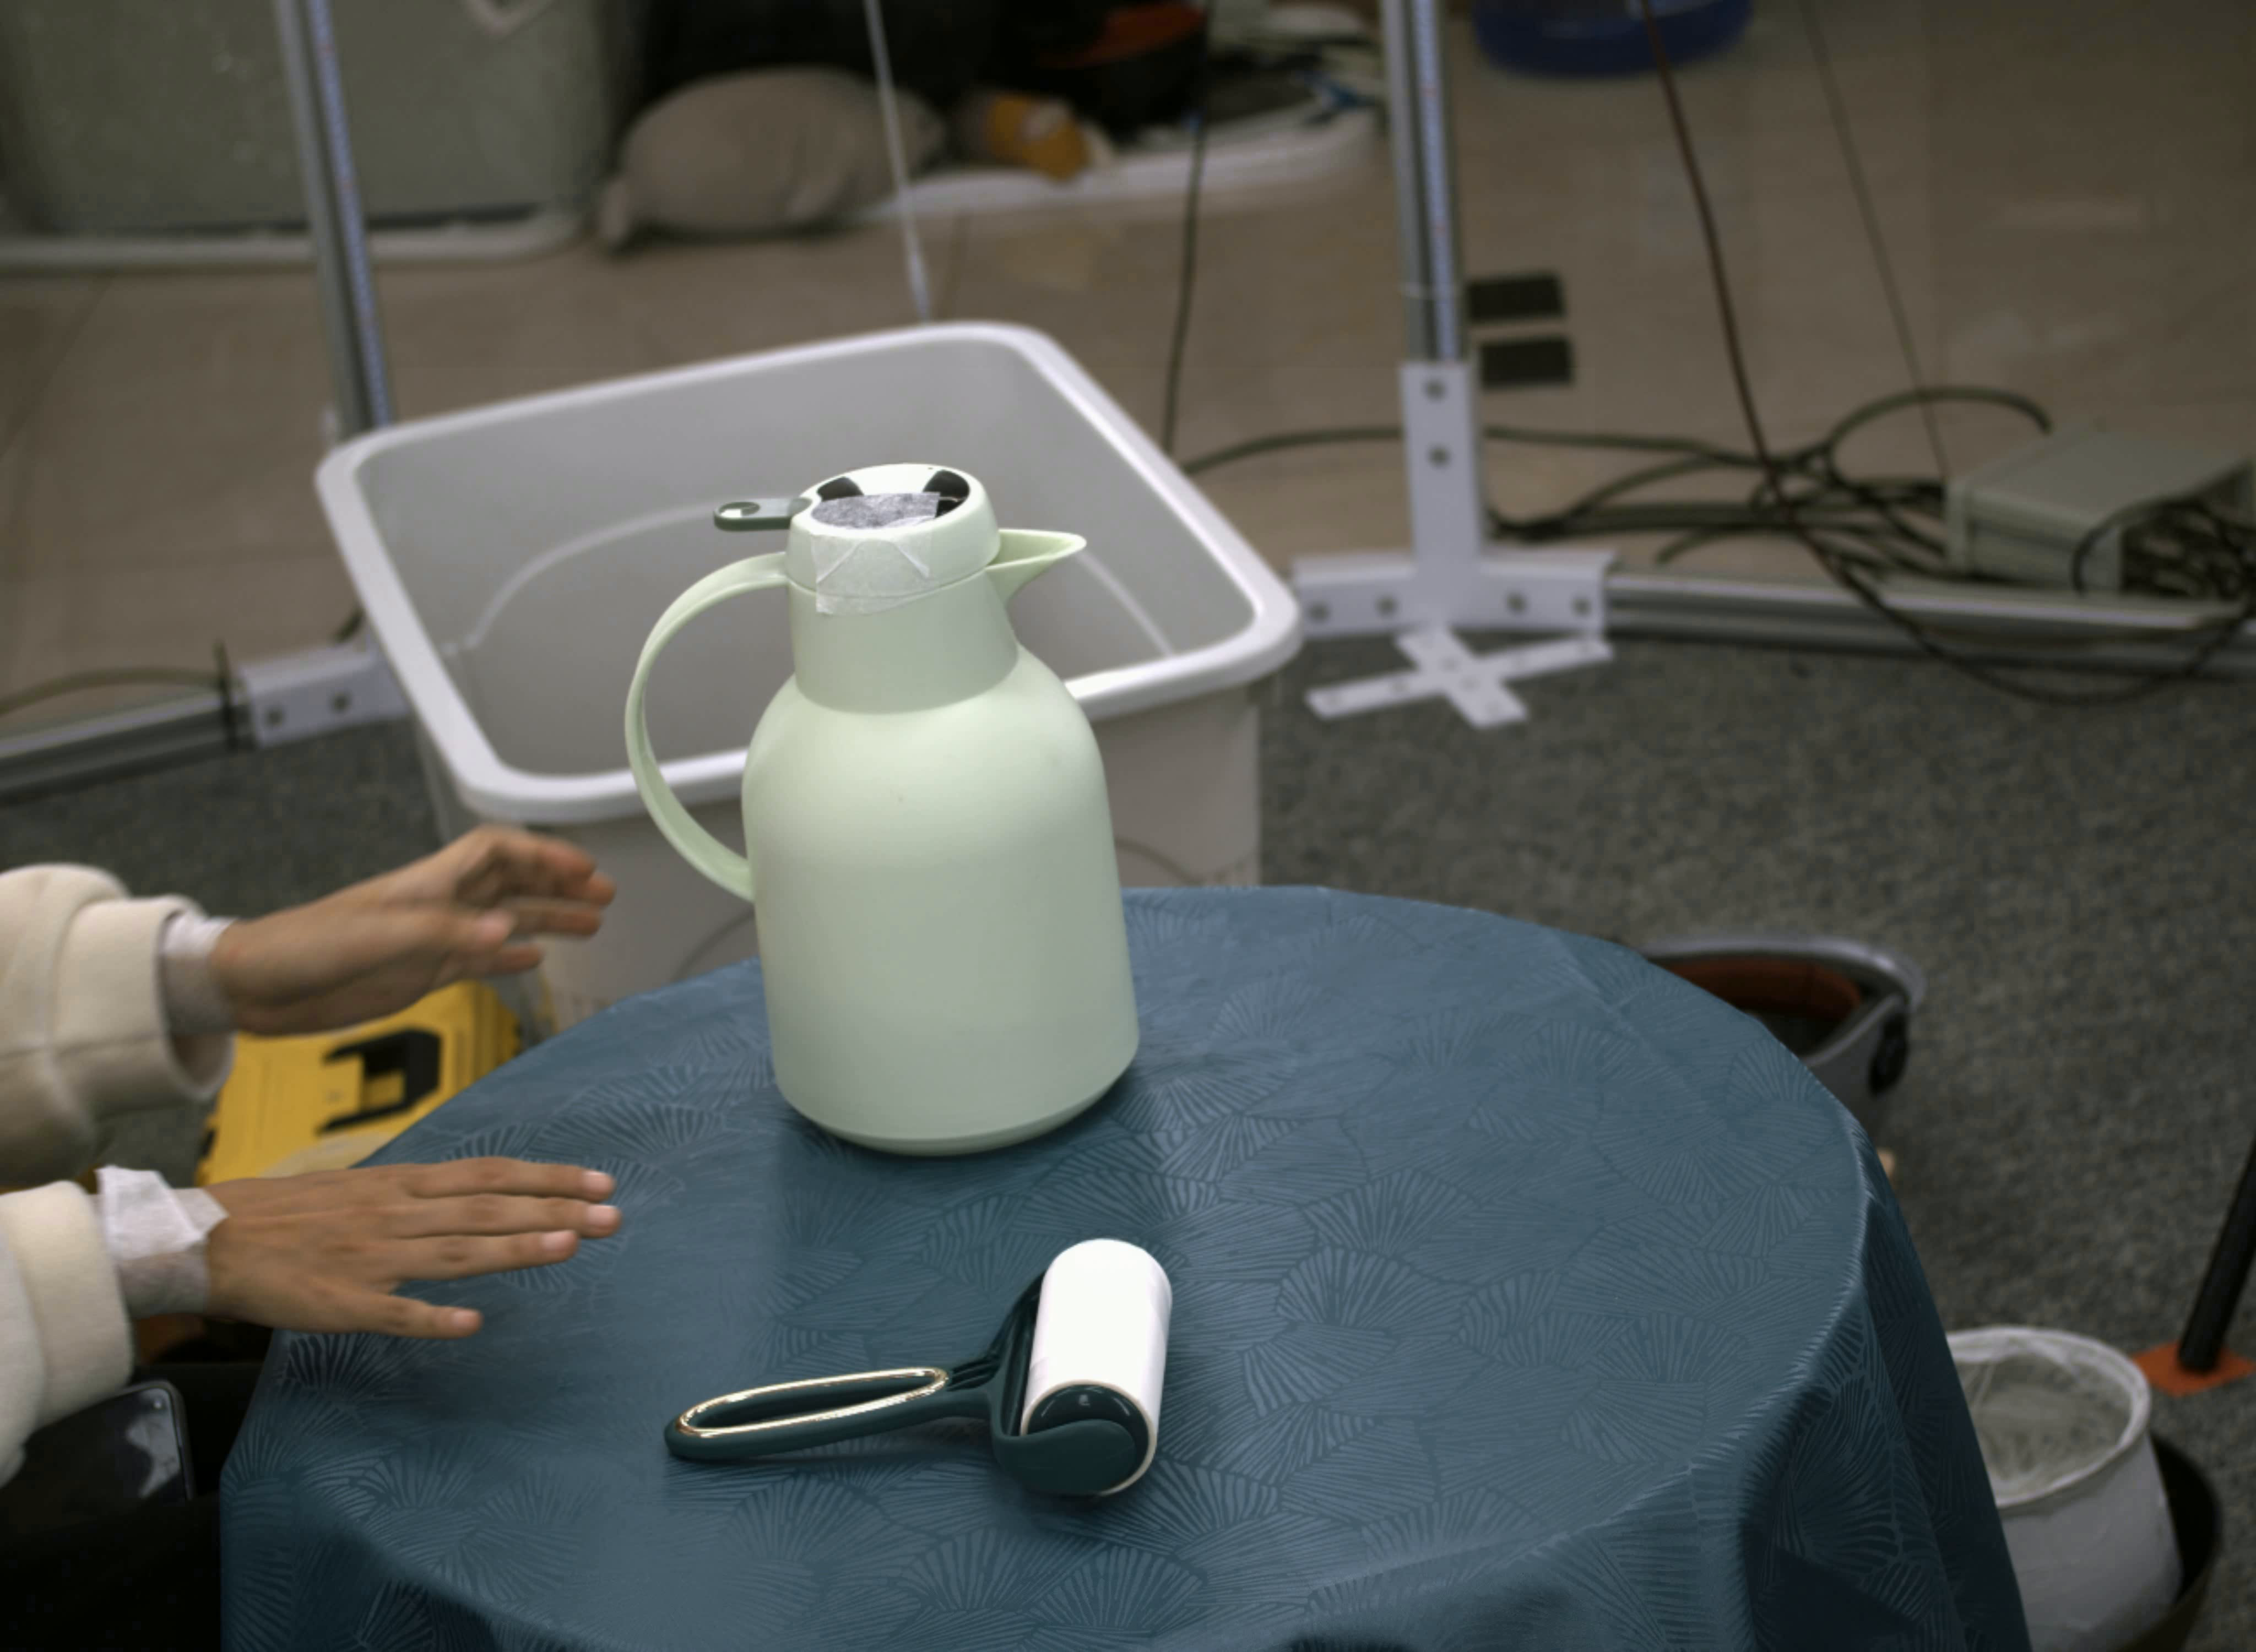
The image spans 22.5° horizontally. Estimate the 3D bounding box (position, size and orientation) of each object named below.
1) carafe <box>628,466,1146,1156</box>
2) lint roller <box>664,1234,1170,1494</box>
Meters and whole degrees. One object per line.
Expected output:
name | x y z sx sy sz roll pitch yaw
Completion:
carafe | -0.092 -0.009 2.189 0.186 0.261 0.142 -7 27 7
lint roller | -0.077 0.193 1.994 0.180 0.049 0.132 -4 24 6
